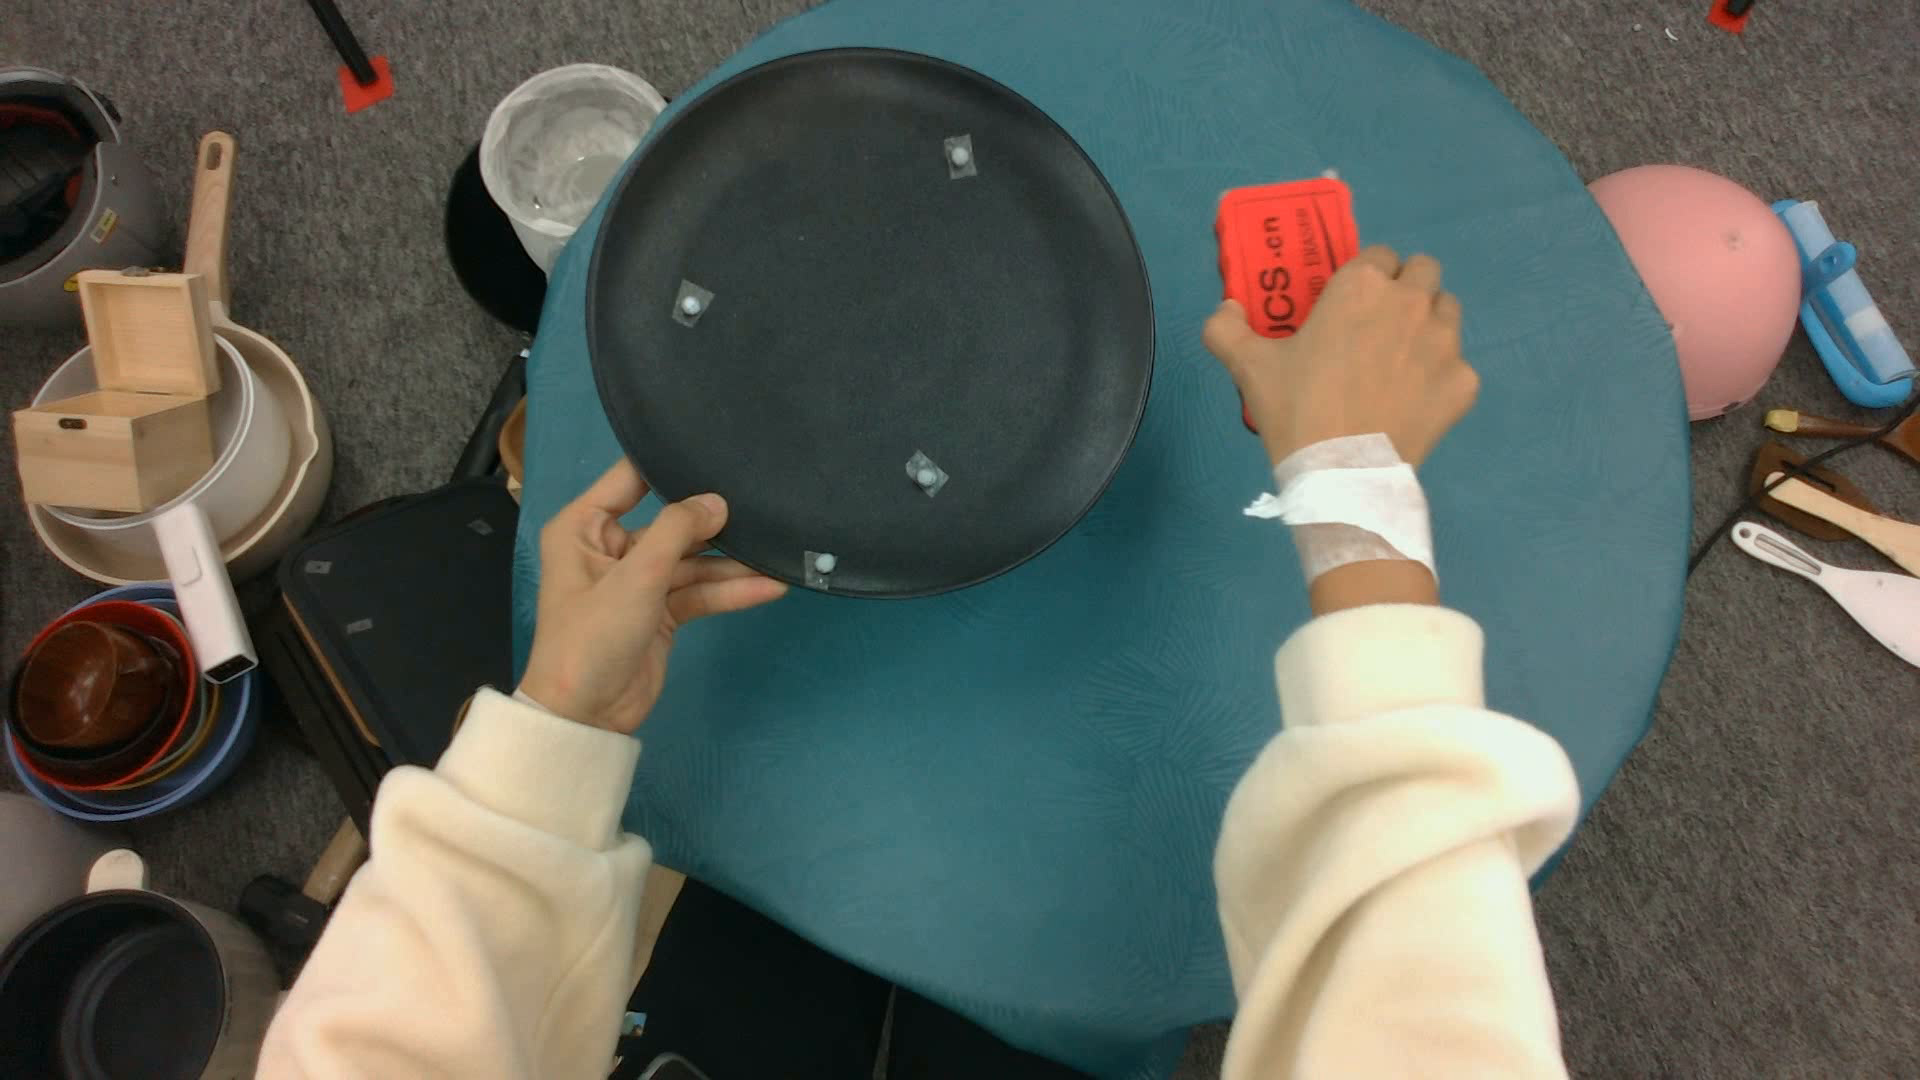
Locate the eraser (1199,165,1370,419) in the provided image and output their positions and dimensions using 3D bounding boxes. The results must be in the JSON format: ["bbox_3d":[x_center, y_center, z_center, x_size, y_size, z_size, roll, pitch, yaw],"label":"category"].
[{"bbox_3d":[0.140,-0.109,0.600,0.059,0.023,0.108,-6,76,-1],"label":"eraser"}]

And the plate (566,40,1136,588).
[{"bbox_3d":[-0.044,-0.099,0.596,0.244,0.023,0.244,2,81,-10],"label":"plate"}]
